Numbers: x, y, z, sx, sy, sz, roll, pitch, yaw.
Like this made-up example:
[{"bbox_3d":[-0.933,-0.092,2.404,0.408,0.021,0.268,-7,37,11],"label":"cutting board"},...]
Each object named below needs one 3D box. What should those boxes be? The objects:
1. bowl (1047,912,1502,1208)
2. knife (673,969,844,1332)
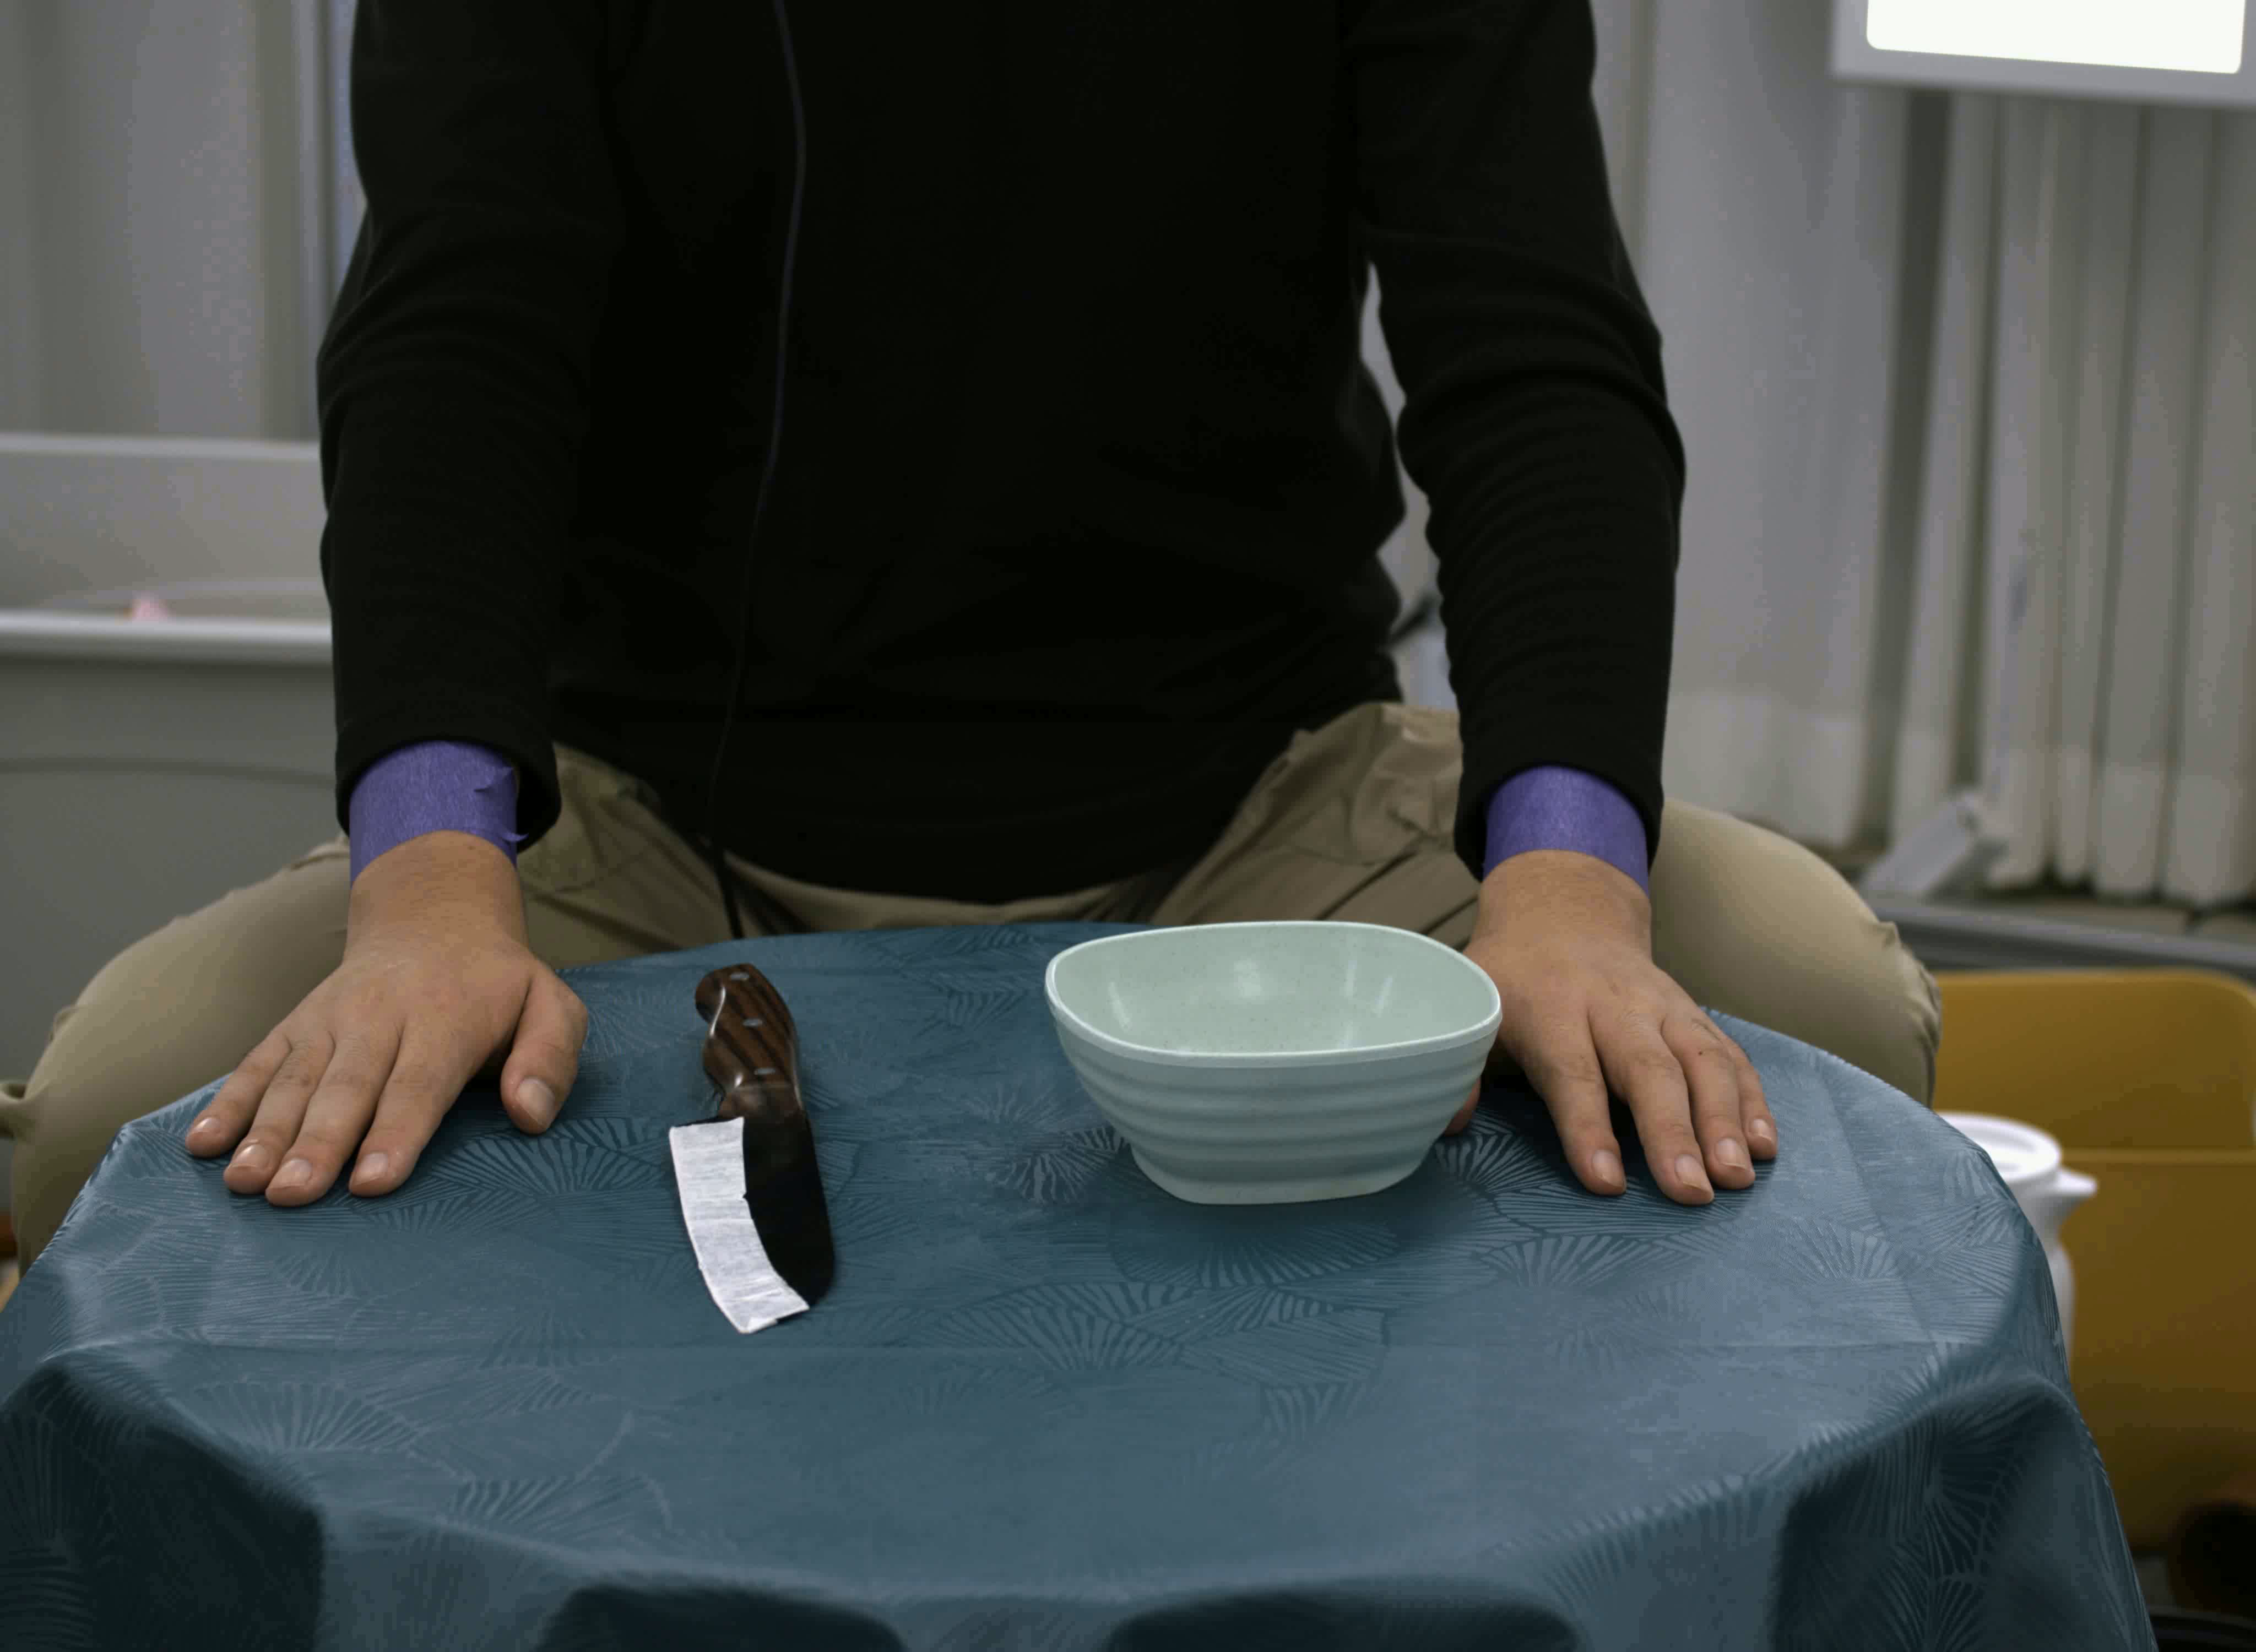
[{"bbox_3d":[0.045,0.076,1.646,0.151,0.059,0.150,1,18,0],"label":"bowl"},{"bbox_3d":[-0.116,0.100,1.636,0.050,0.020,0.287,-5,18,-4],"label":"knife"}]
